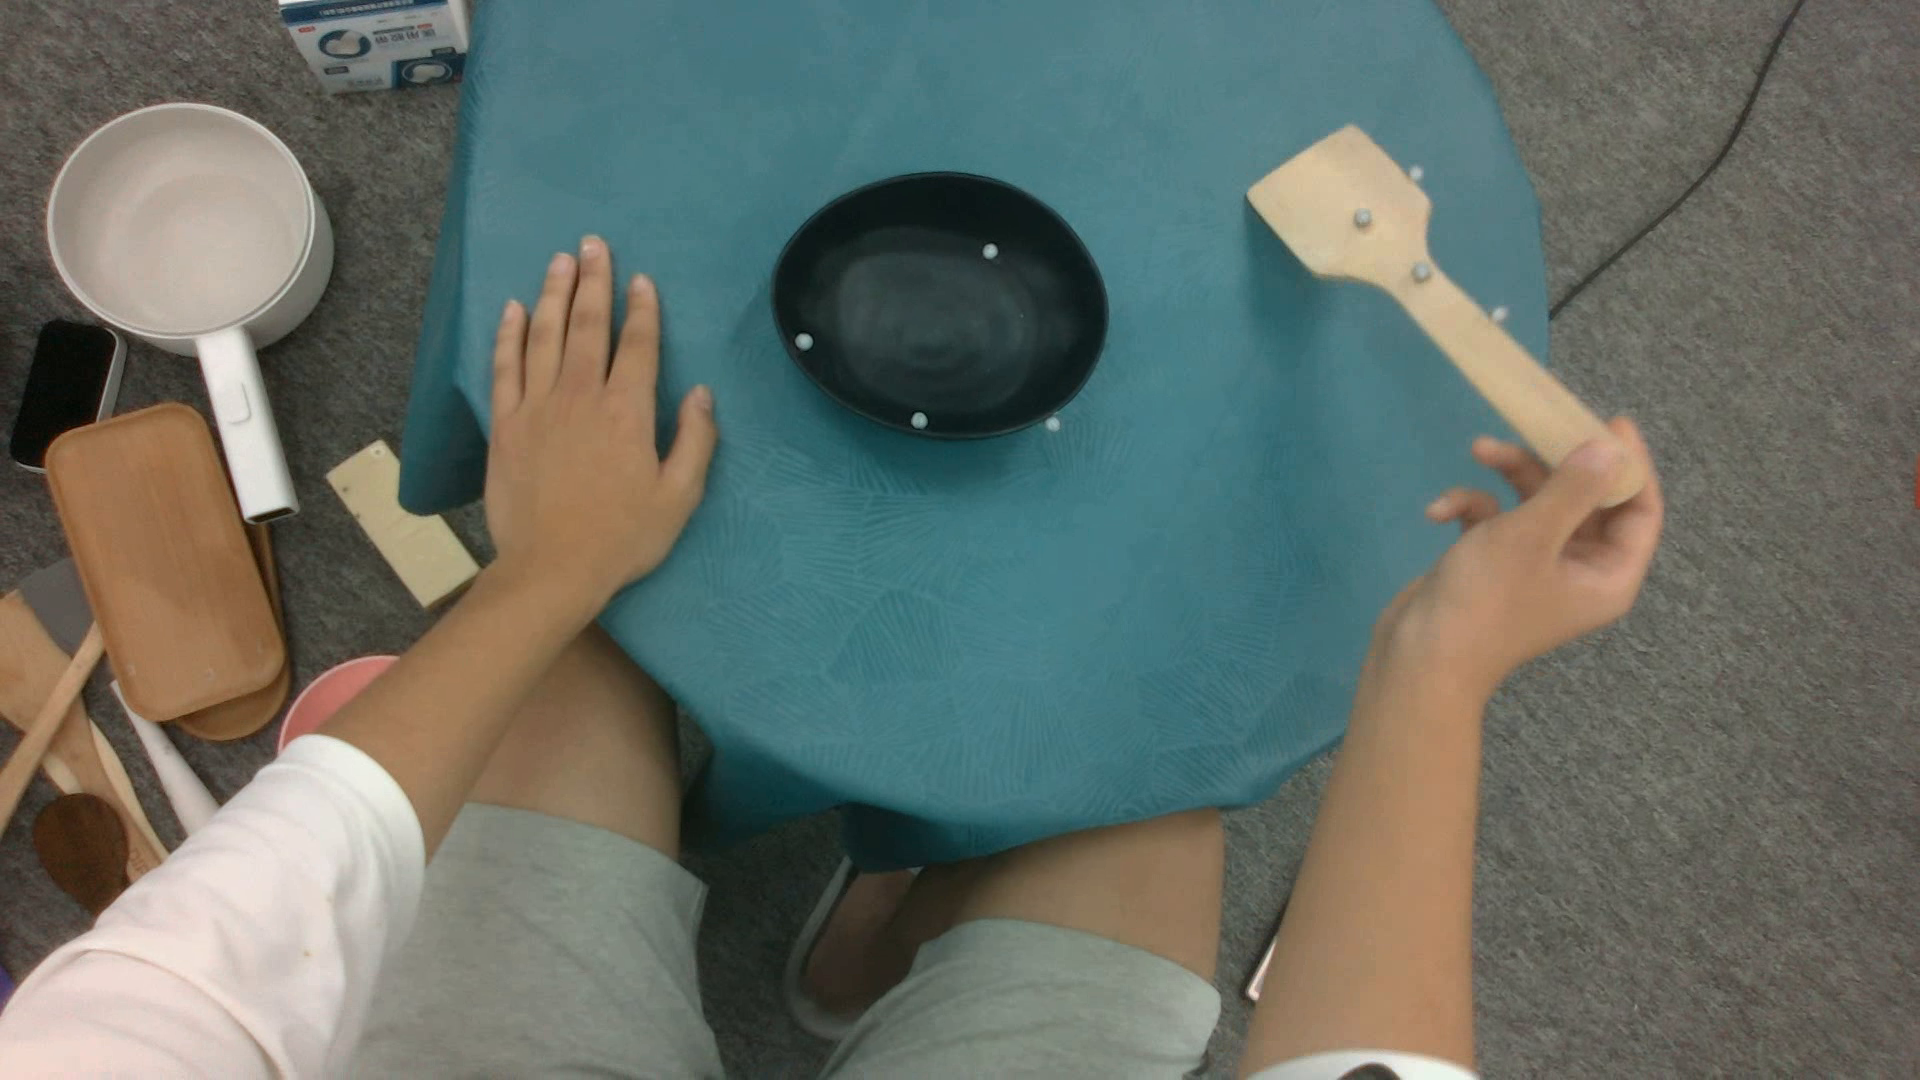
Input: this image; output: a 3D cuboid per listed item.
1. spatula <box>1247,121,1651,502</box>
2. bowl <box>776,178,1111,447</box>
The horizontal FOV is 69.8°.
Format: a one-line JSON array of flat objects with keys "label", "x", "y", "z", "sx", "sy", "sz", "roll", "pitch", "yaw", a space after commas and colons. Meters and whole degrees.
[{"label": "spatula", "x": 0.235, "y": -0.117, "z": 0.678, "sx": 0.072, "sy": 0.294, "sz": 0.010, "roll": -45, "pitch": 134, "yaw": 18}, {"label": "bowl", "x": -0.010, "y": -0.111, "z": 0.715, "sx": 0.170, "sy": 0.066, "sz": 0.137, "roll": 2, "pitch": 81, "yaw": -7}]
